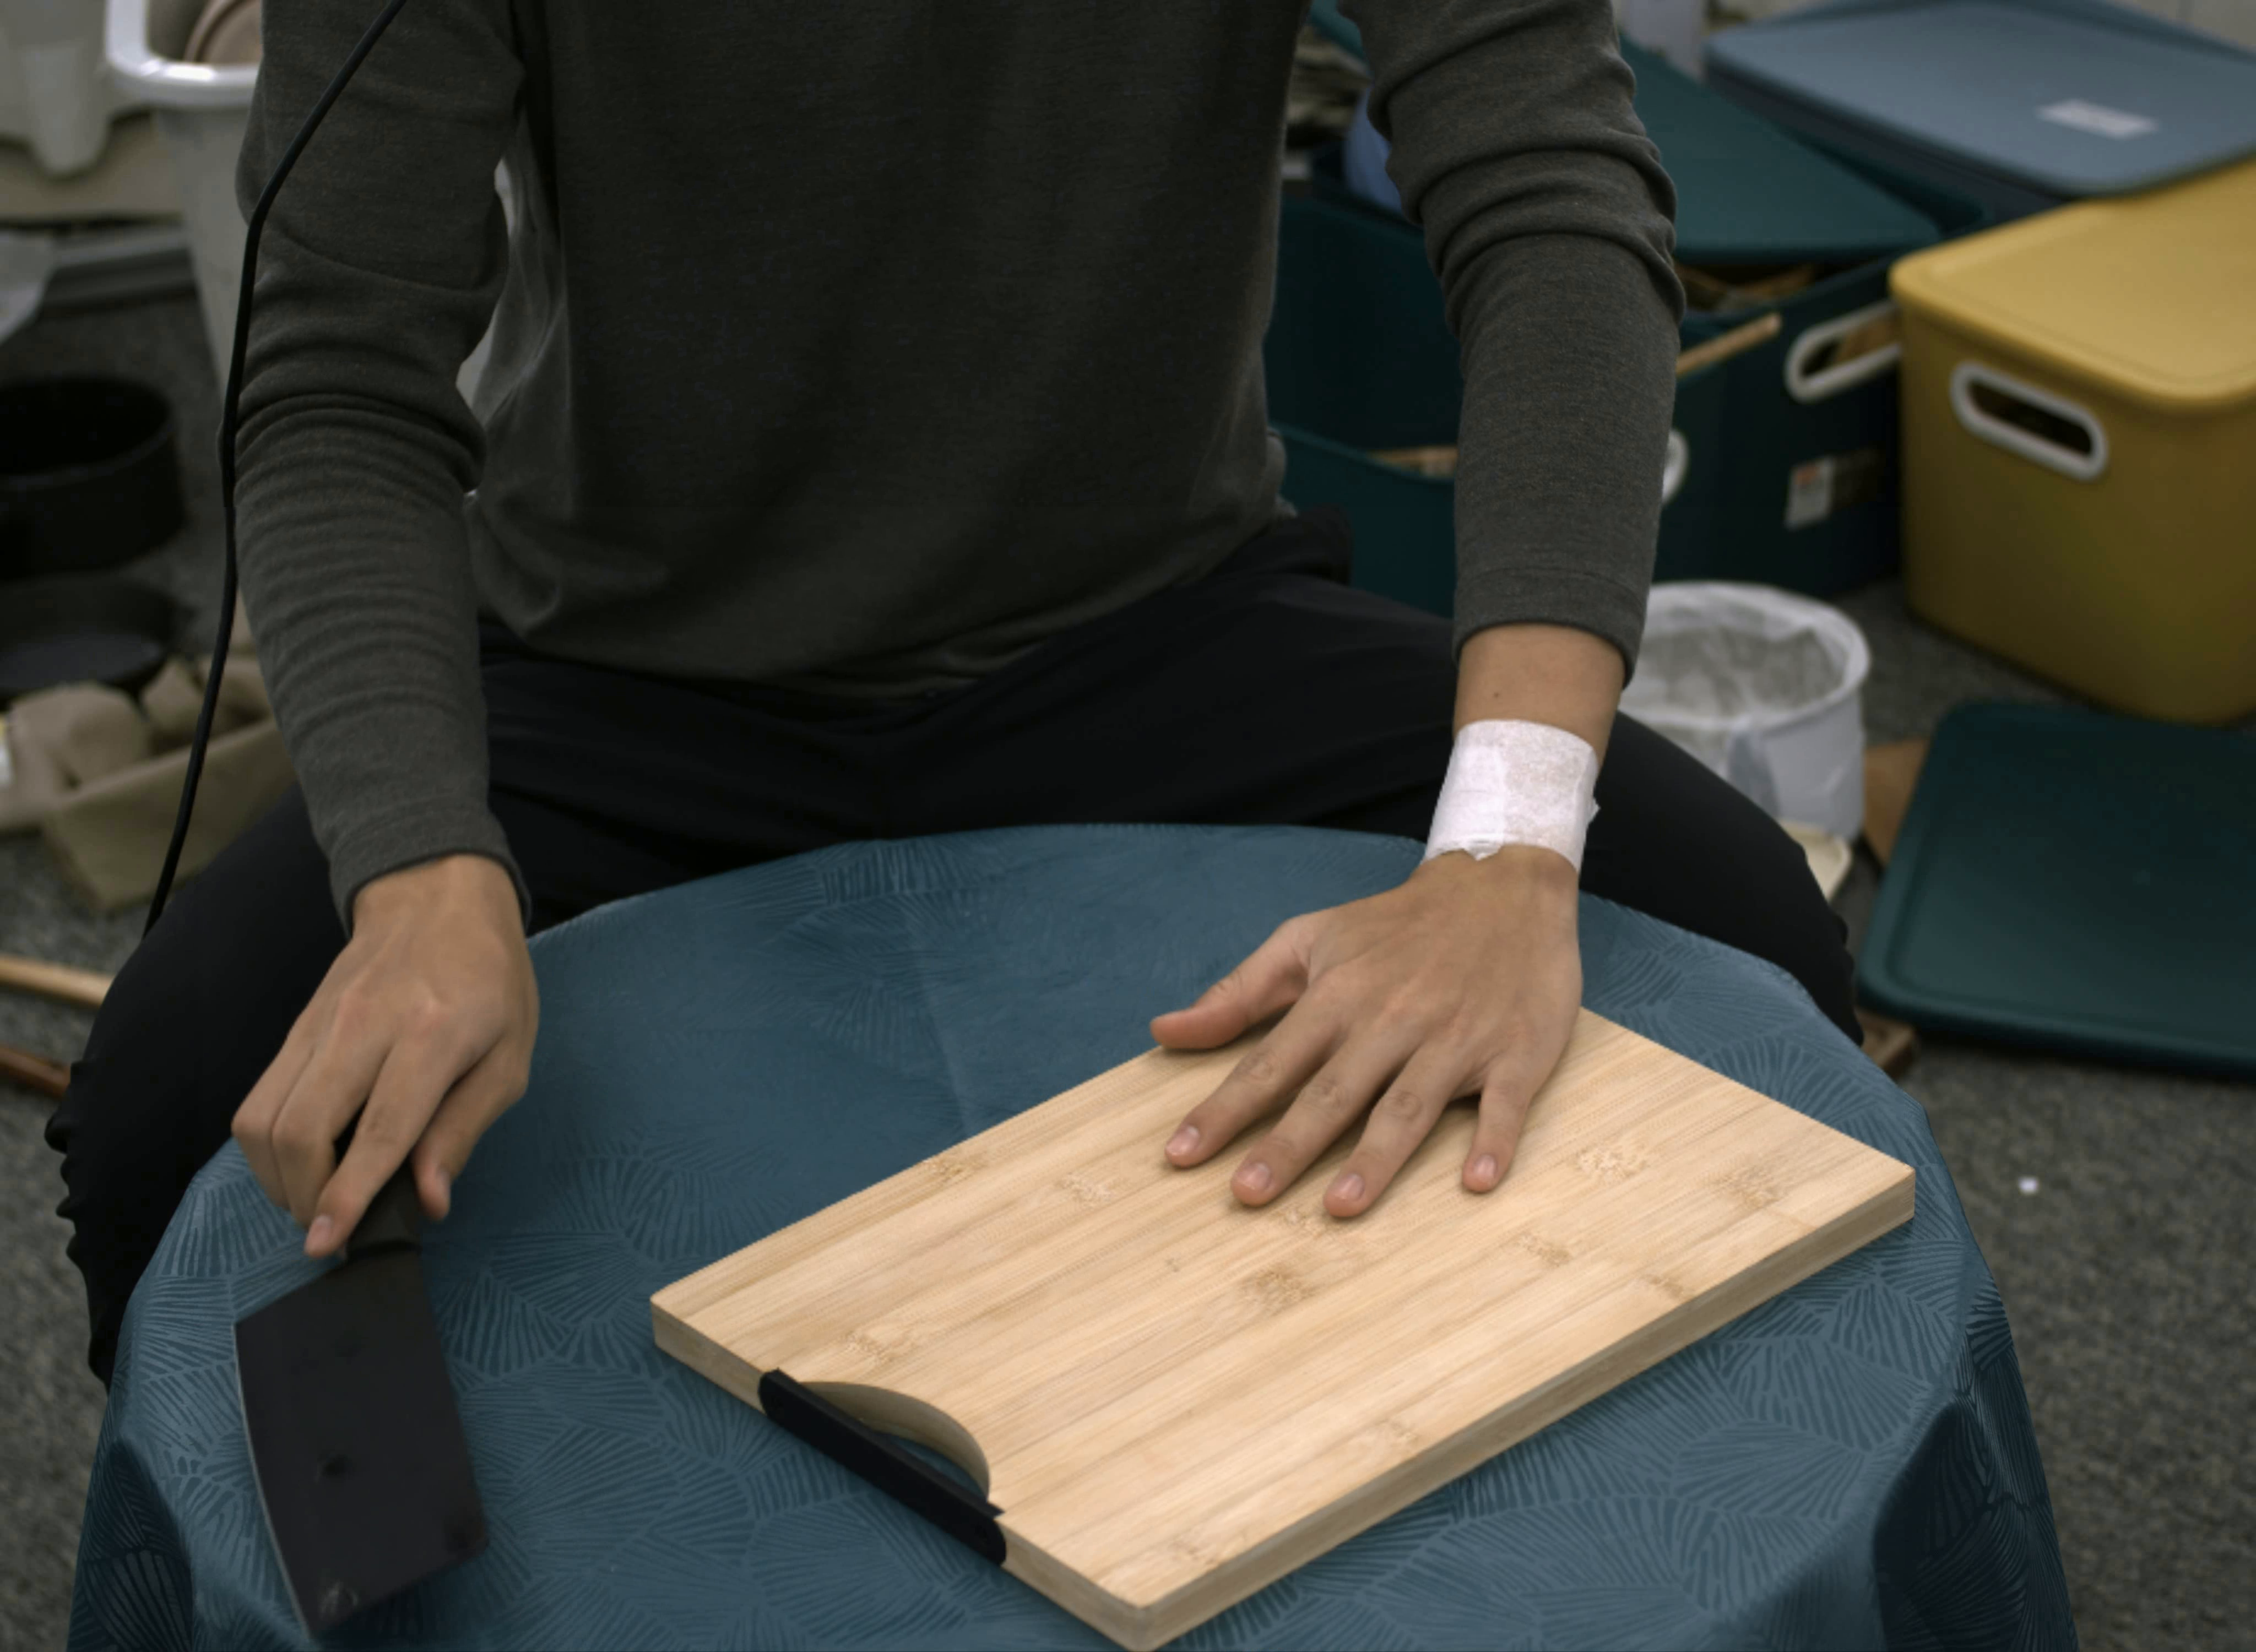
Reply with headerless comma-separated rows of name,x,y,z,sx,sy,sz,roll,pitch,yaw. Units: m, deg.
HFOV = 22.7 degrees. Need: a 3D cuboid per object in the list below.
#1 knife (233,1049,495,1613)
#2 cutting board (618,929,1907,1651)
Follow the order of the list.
knife,-0.245,0.152,1.763,0.080,0.020,0.306,-24,29,2
cutting board,0.047,0.141,1.803,0.352,0.023,0.250,-24,34,-36
